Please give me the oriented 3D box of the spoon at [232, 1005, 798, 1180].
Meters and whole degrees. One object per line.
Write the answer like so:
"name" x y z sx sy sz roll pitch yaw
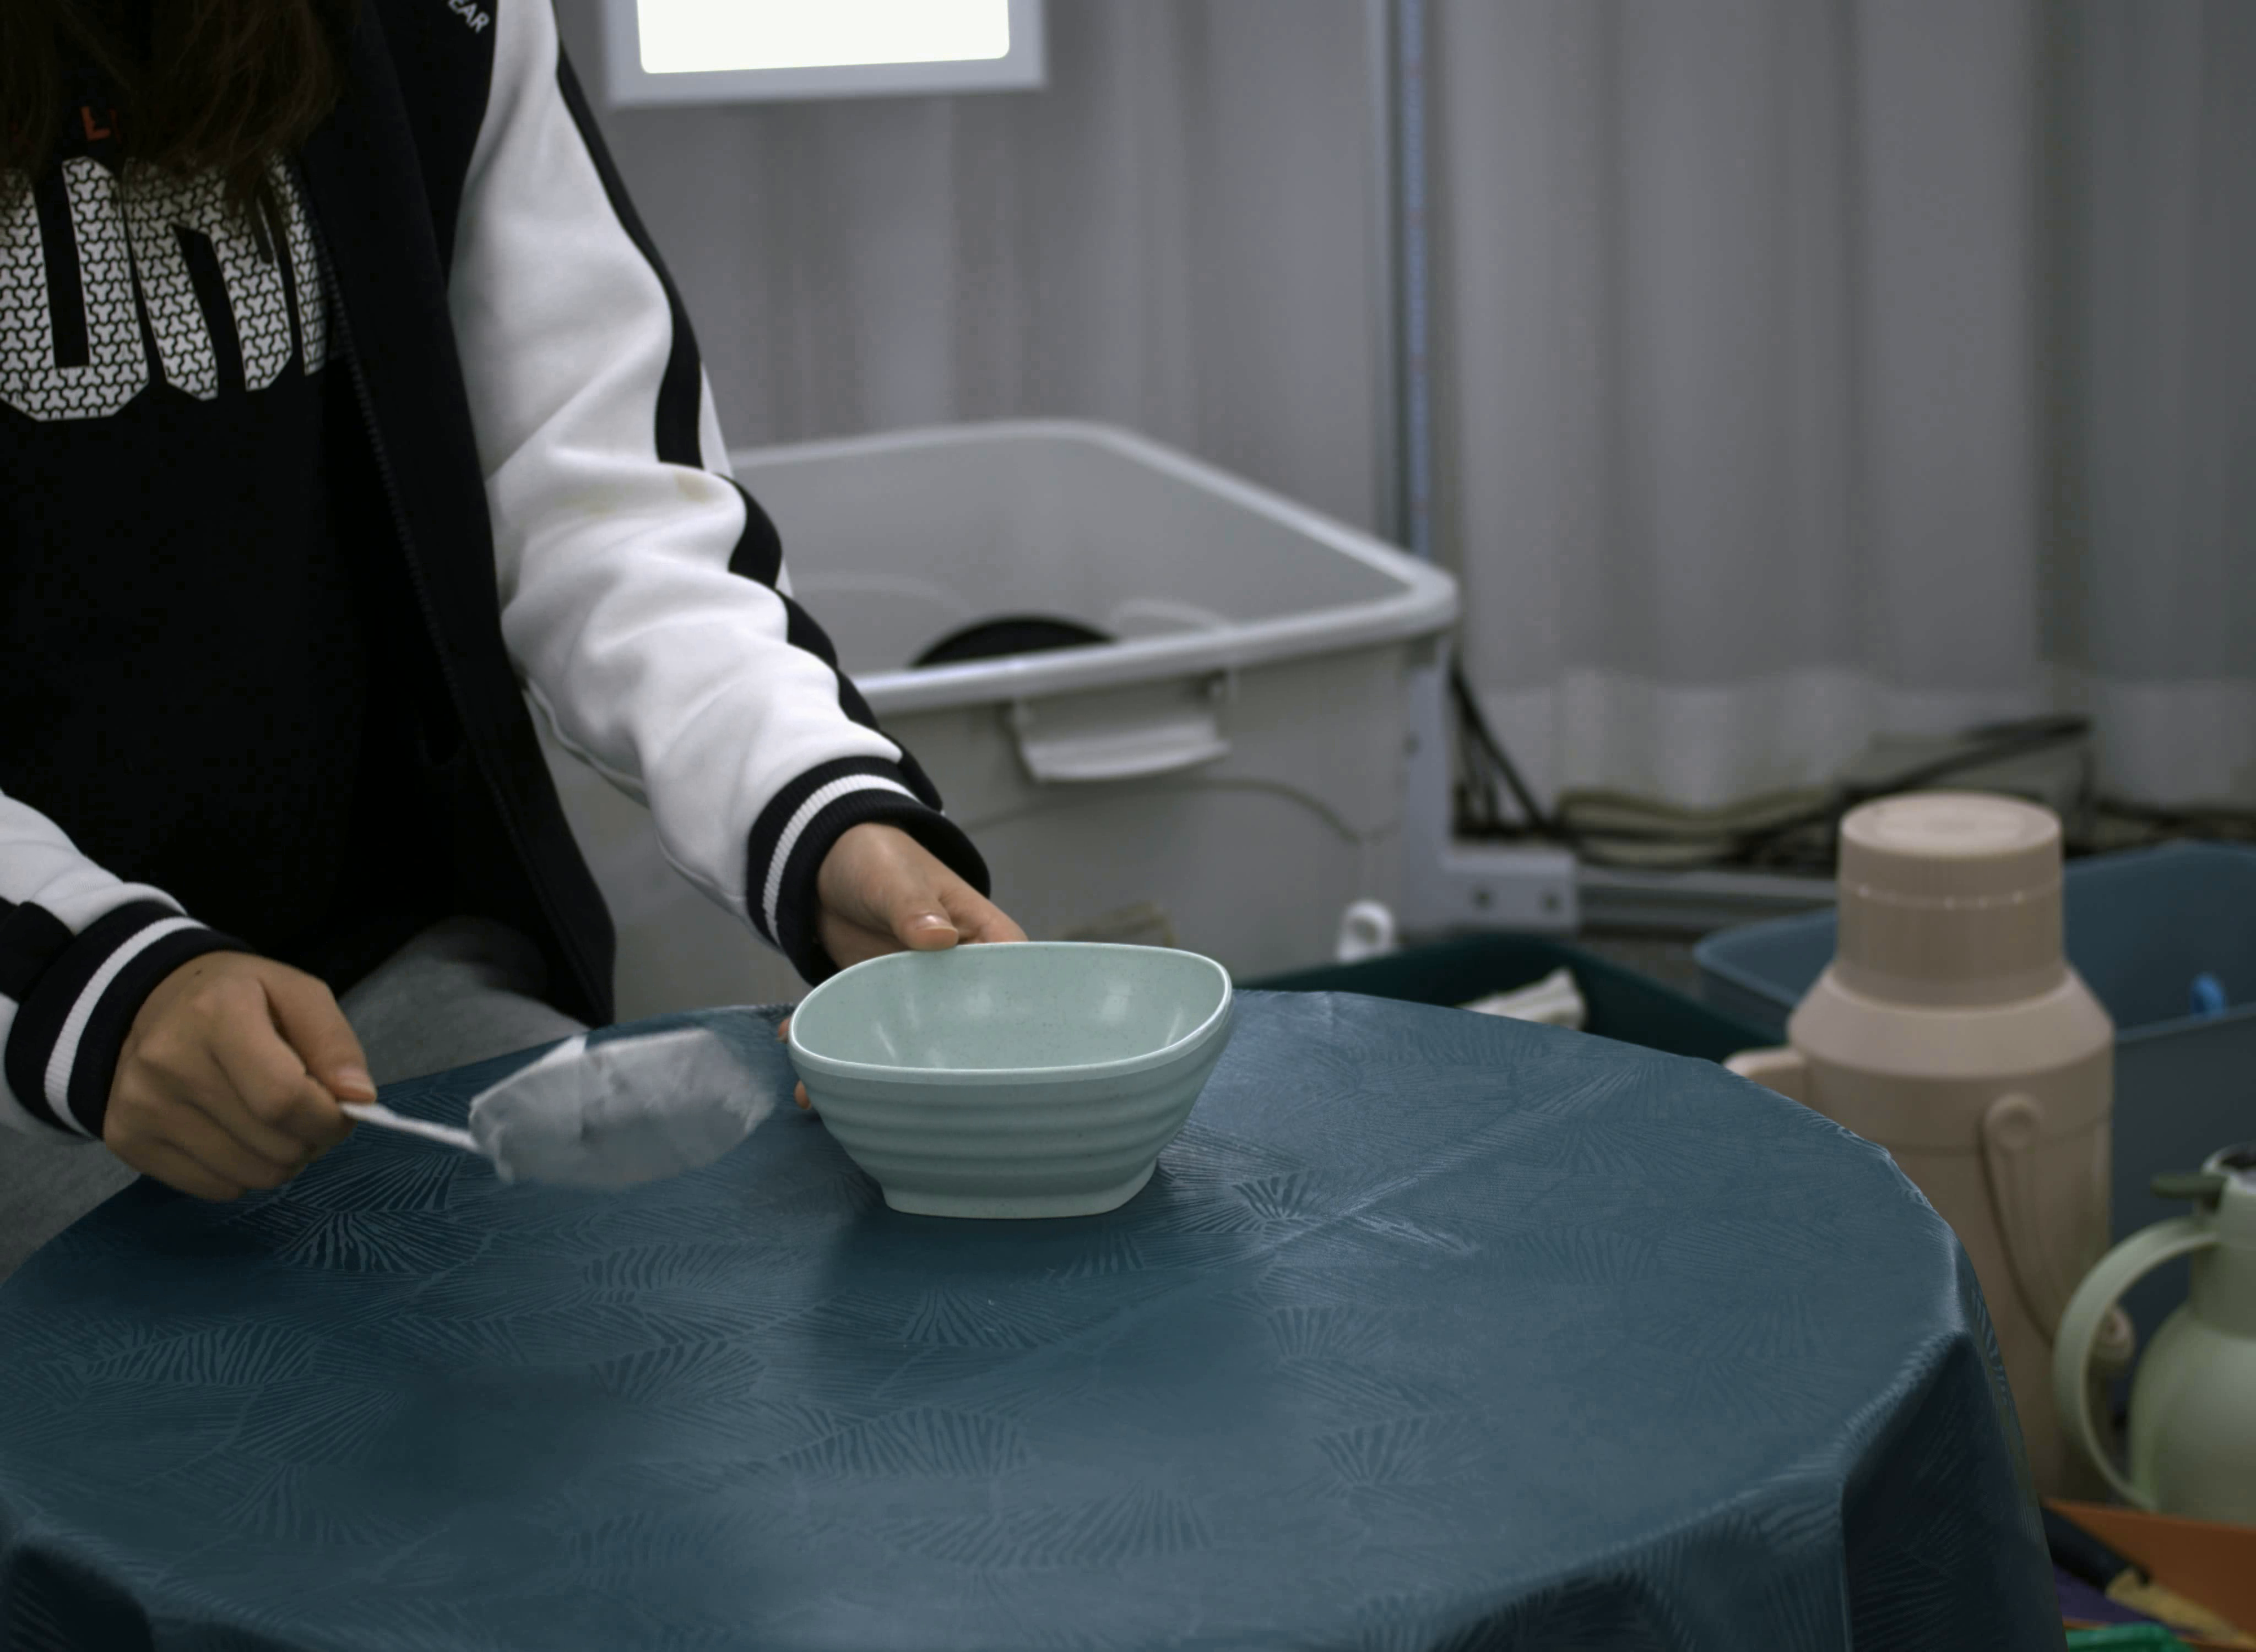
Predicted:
"spoon" -0.194 0.065 1.639 0.100 0.059 0.279 12 0 -35

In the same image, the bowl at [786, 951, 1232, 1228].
"bowl" -0.036 0.086 1.728 0.151 0.058 0.152 -3 14 0
